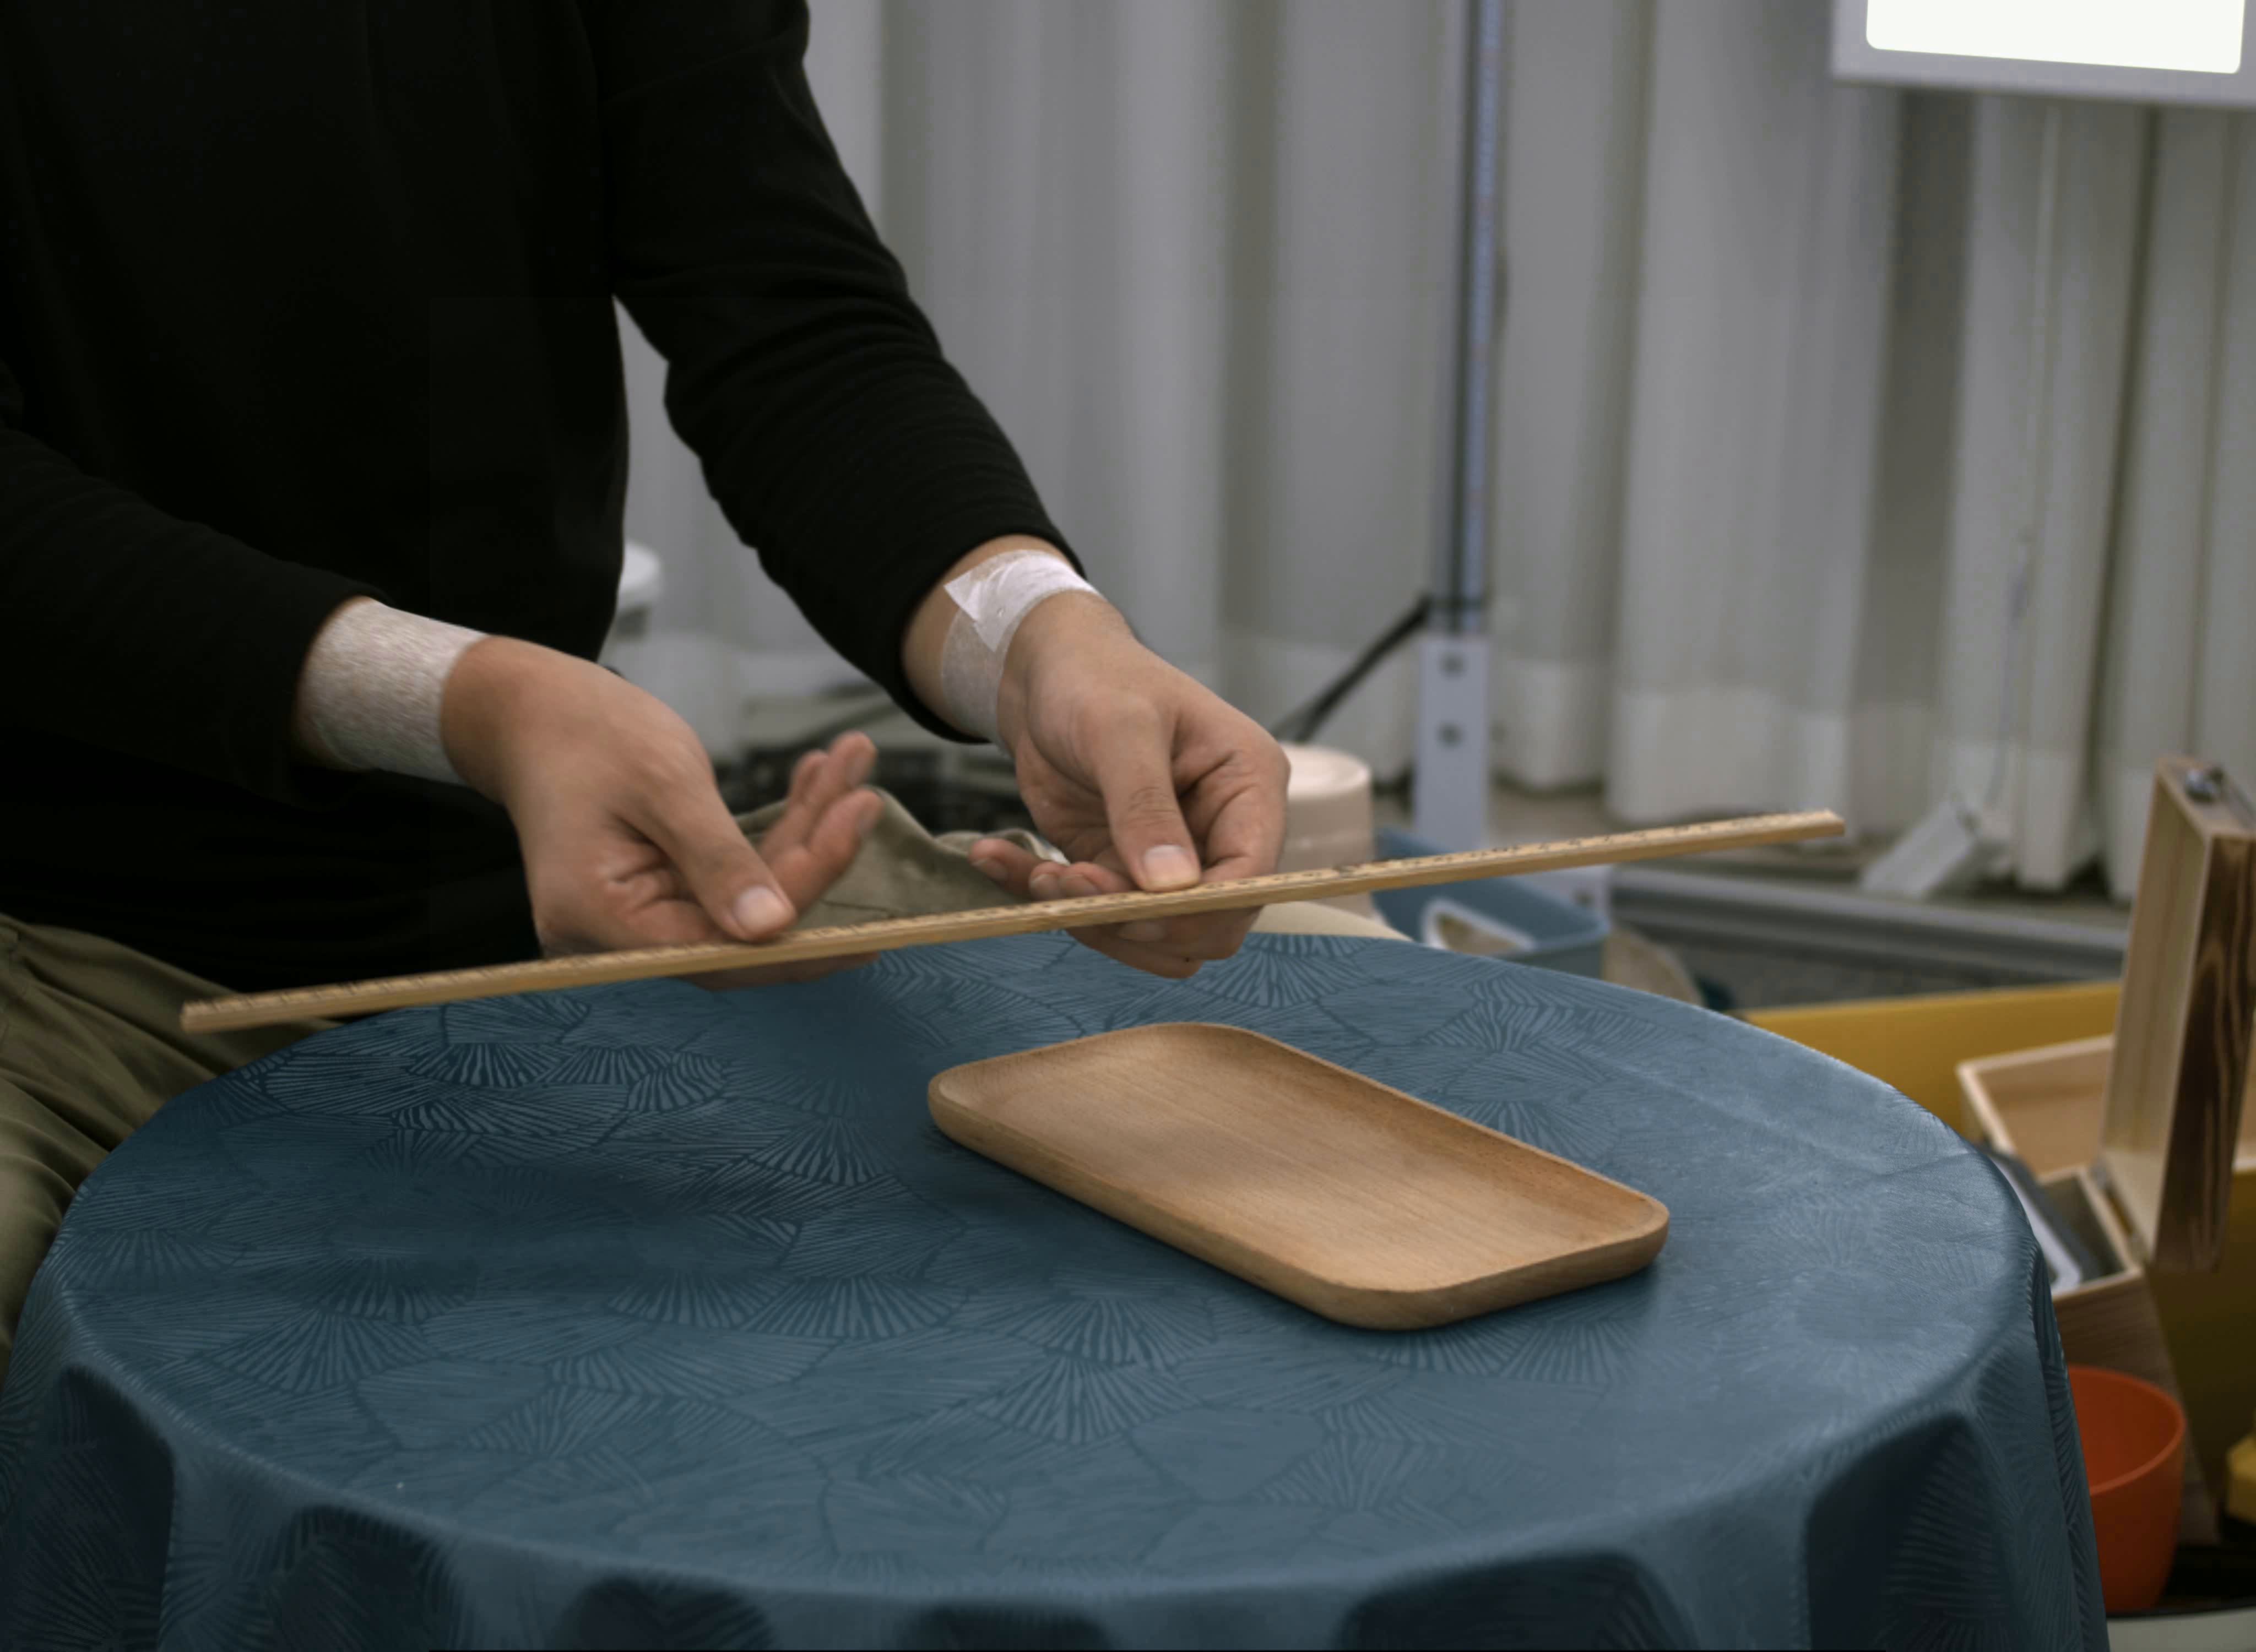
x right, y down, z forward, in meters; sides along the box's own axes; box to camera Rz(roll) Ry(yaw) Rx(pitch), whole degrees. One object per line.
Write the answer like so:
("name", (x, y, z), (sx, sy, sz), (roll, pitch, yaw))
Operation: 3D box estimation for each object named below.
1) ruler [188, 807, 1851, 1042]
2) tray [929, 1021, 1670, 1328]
("ruler", (-0.029, 0.028, 1.572), (0.500, 0.006, 0.026), (-7, 7, -7))
("tray", (0.049, 0.104, 1.620), (0.131, 0.023, 0.247), (-8, 16, -34))
